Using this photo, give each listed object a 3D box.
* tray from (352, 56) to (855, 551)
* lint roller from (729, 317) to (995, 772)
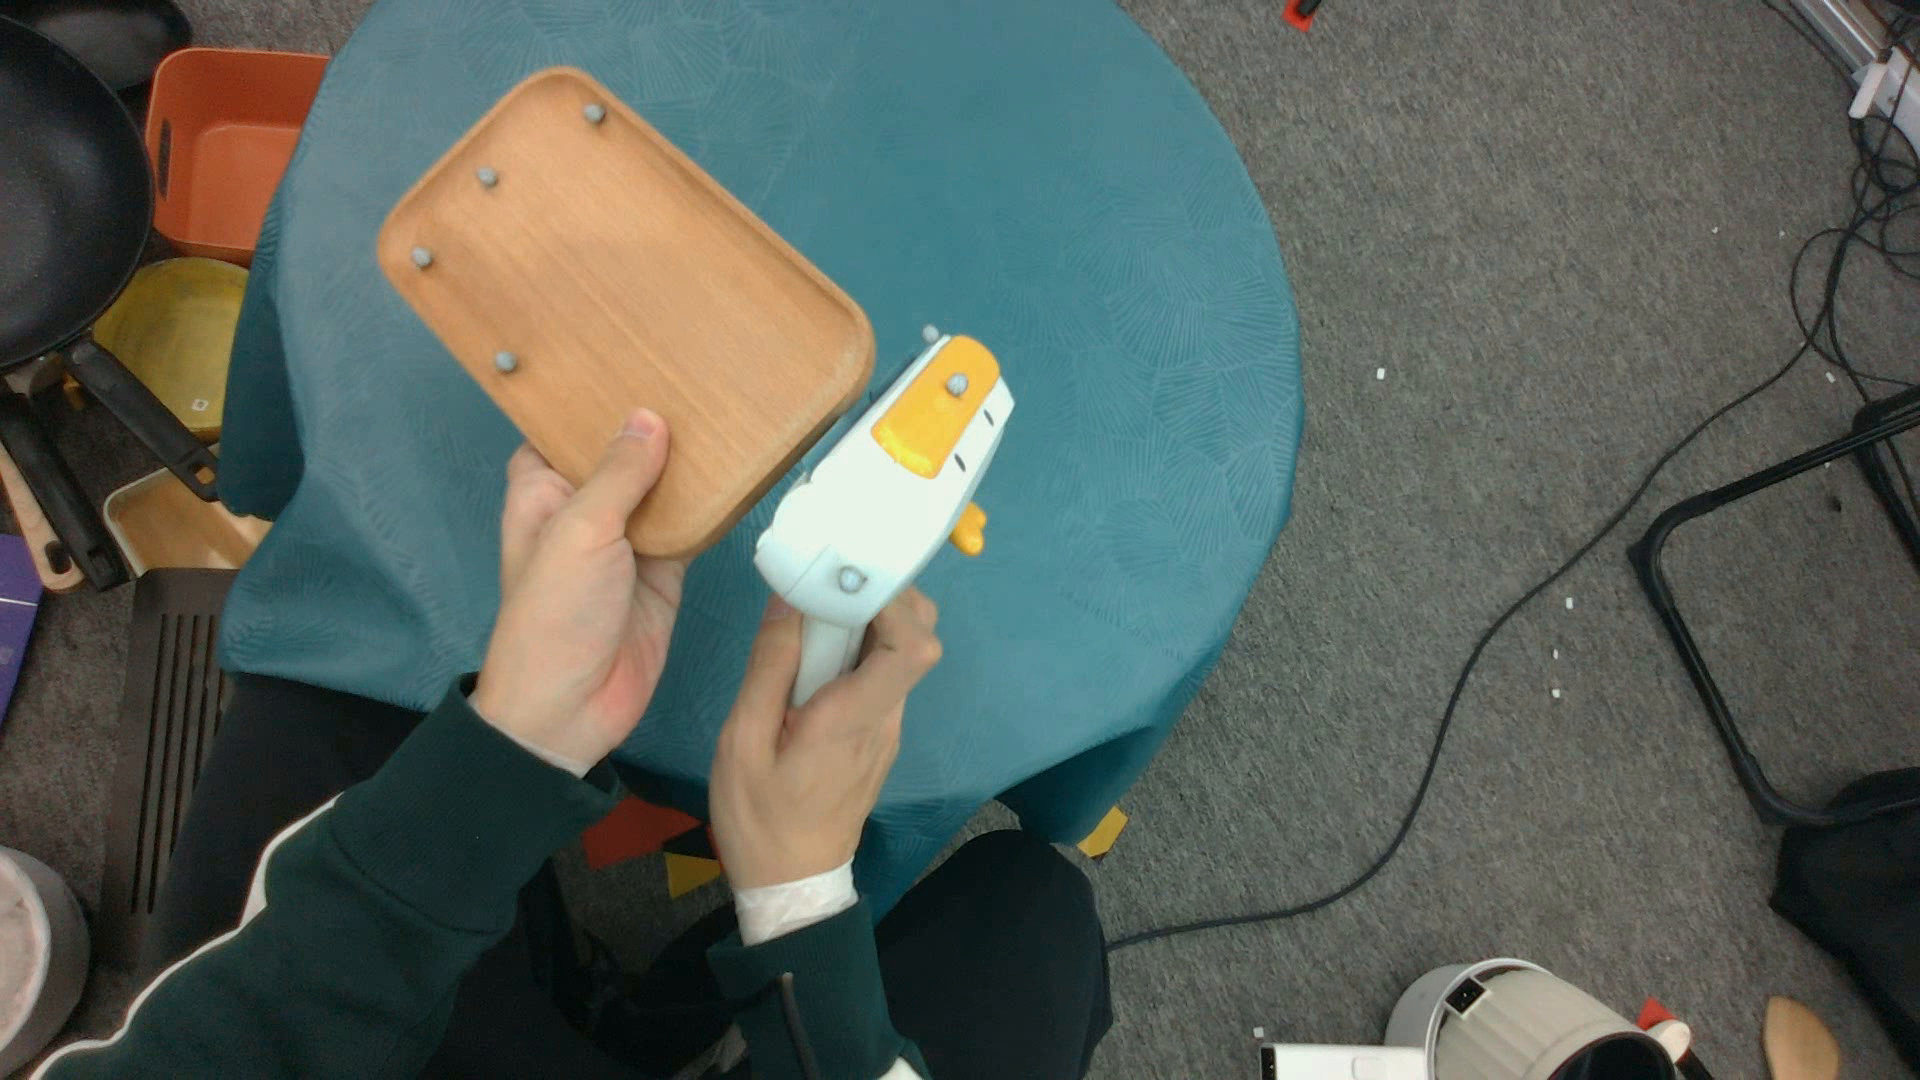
[{"bbox_3d":[-0.153,-0.105,0.565,0.130,0.023,0.251,-47,63,0],"label":"tray"},{"bbox_3d":[-0.055,0.014,0.560,0.074,0.191,0.194,30,28,-8],"label":"lint roller"}]
